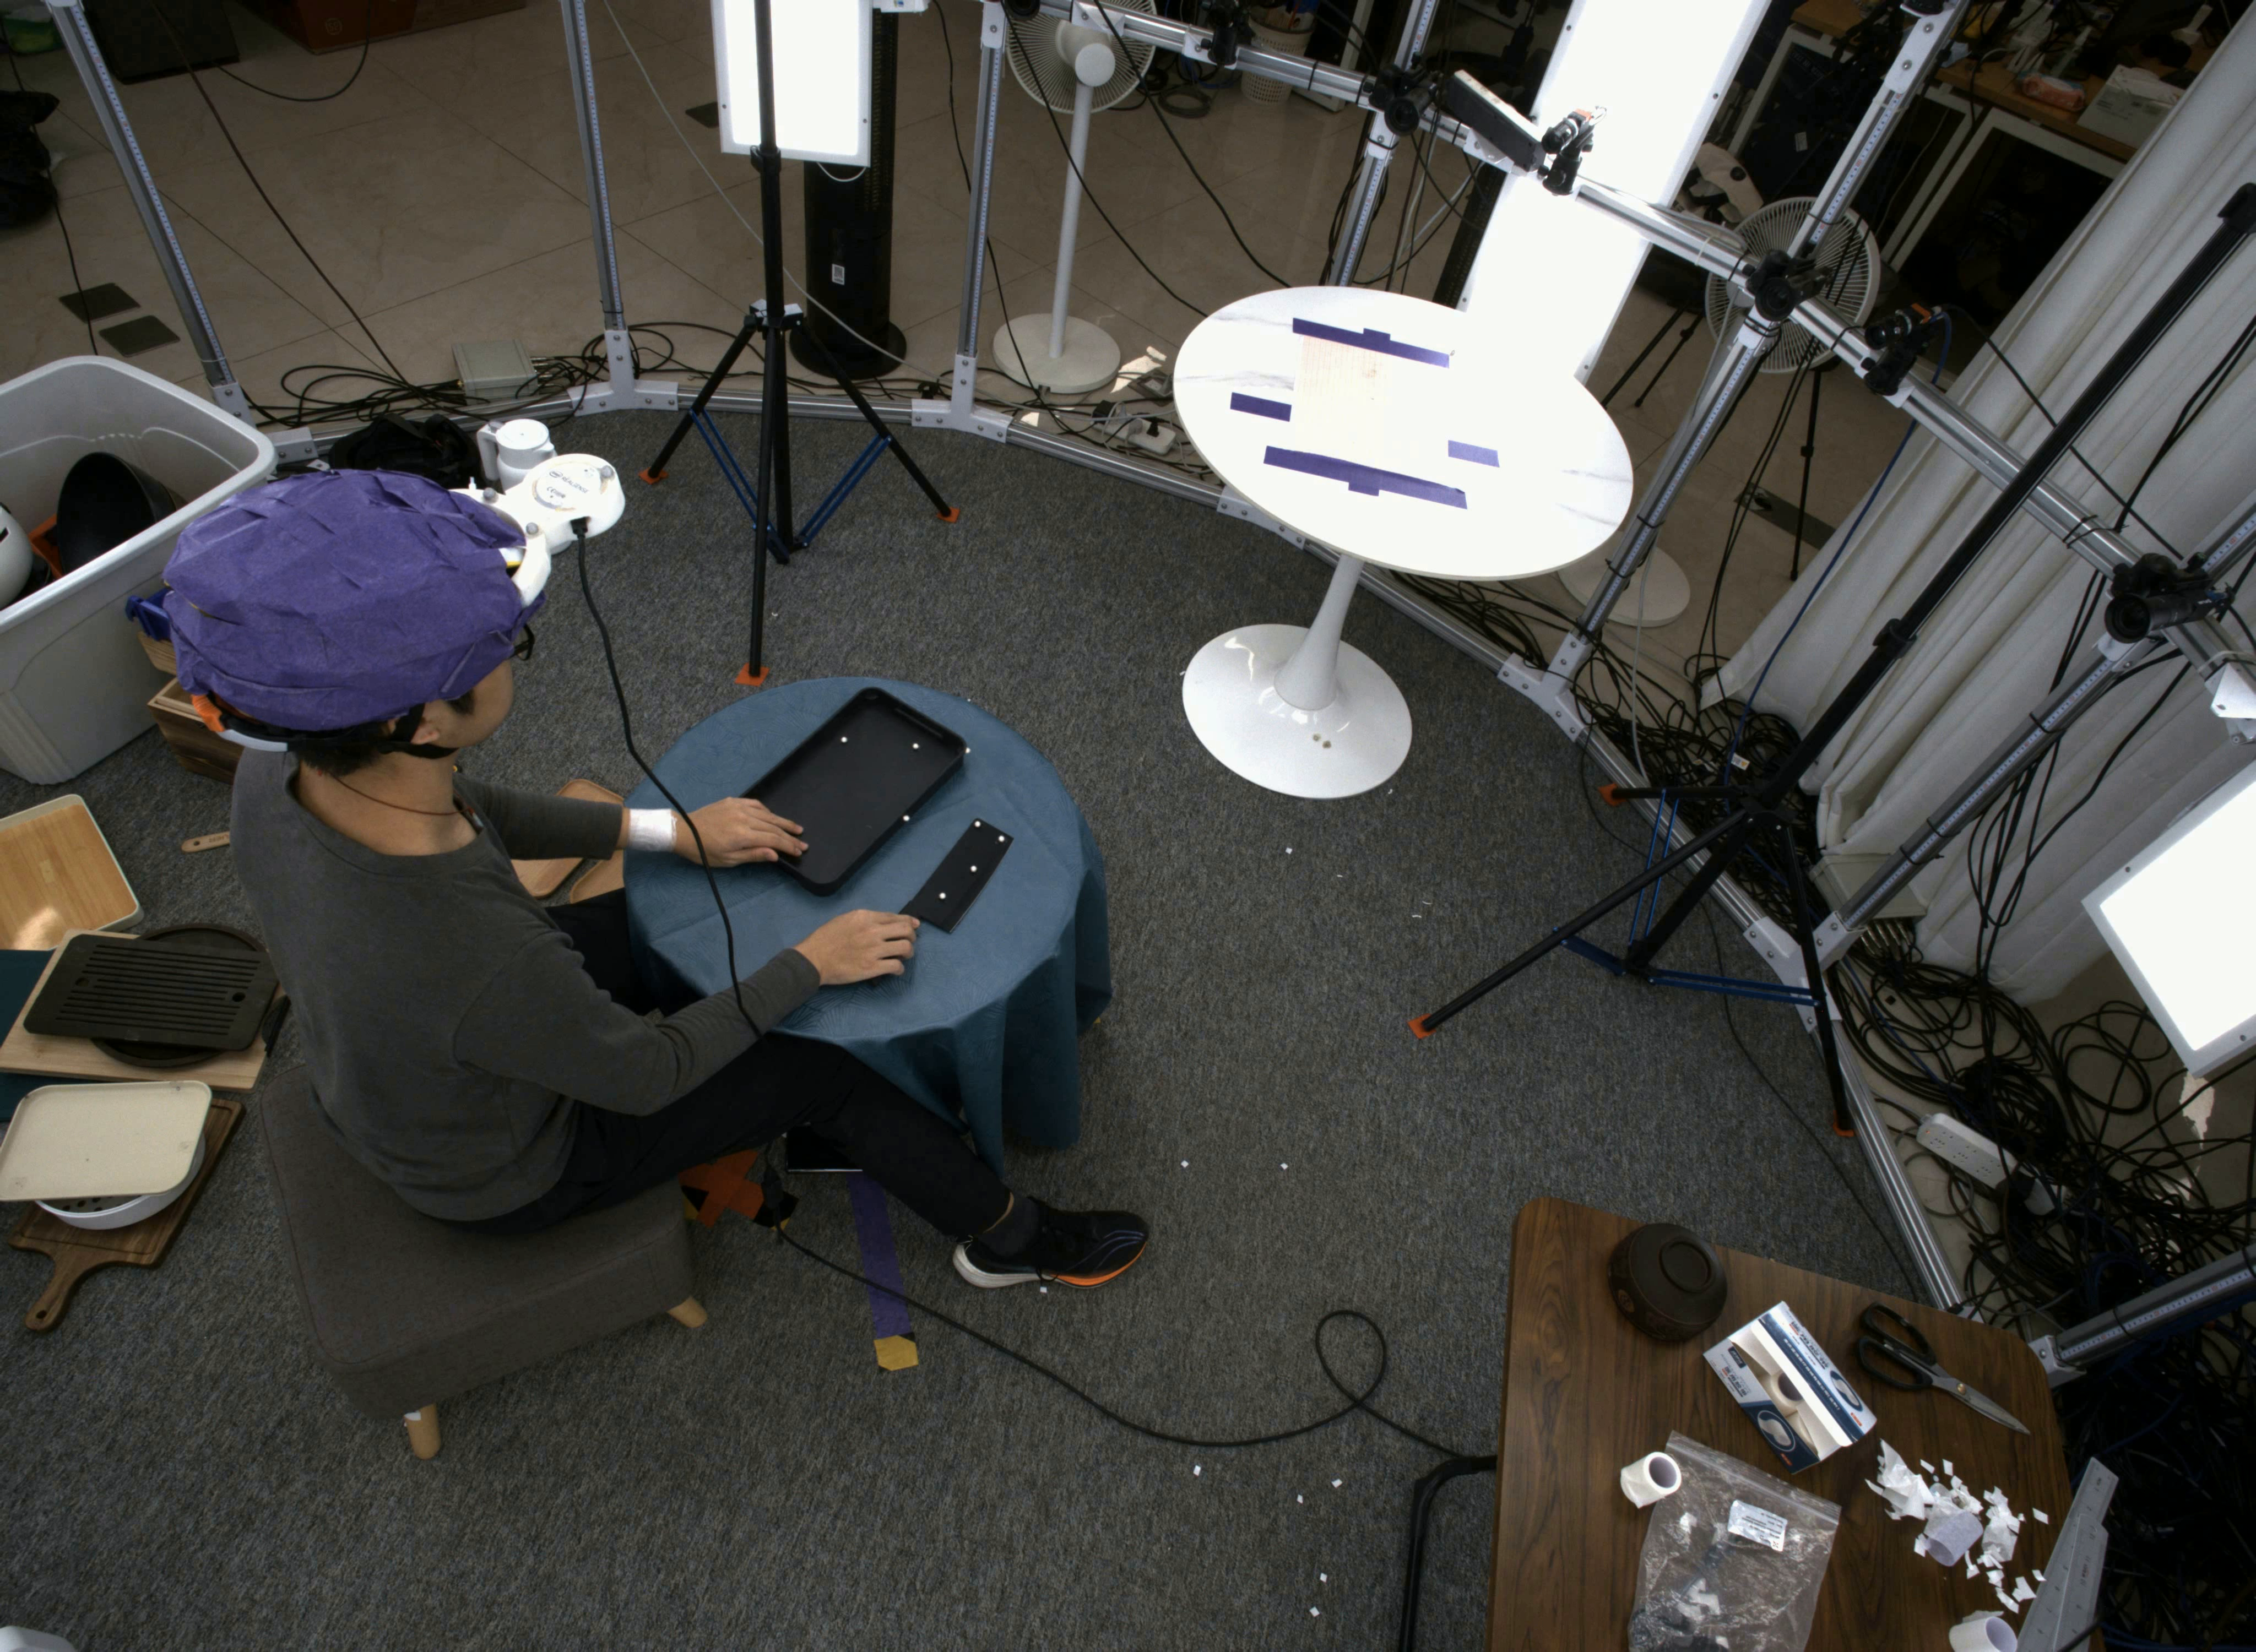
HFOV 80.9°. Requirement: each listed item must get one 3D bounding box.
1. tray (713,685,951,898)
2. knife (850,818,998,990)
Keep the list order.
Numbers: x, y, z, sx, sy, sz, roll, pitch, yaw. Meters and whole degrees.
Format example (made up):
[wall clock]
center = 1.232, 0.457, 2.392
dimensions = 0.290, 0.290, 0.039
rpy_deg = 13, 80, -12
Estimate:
[tray]
center = -0.395, -0.054, 1.759
dimensions = 0.181, 0.038, 0.316
rpy_deg = 29, 52, 8
[knife]
center = -0.265, 0.098, 1.695
dimensions = 0.080, 0.021, 0.301
rpy_deg = 32, 51, 6
